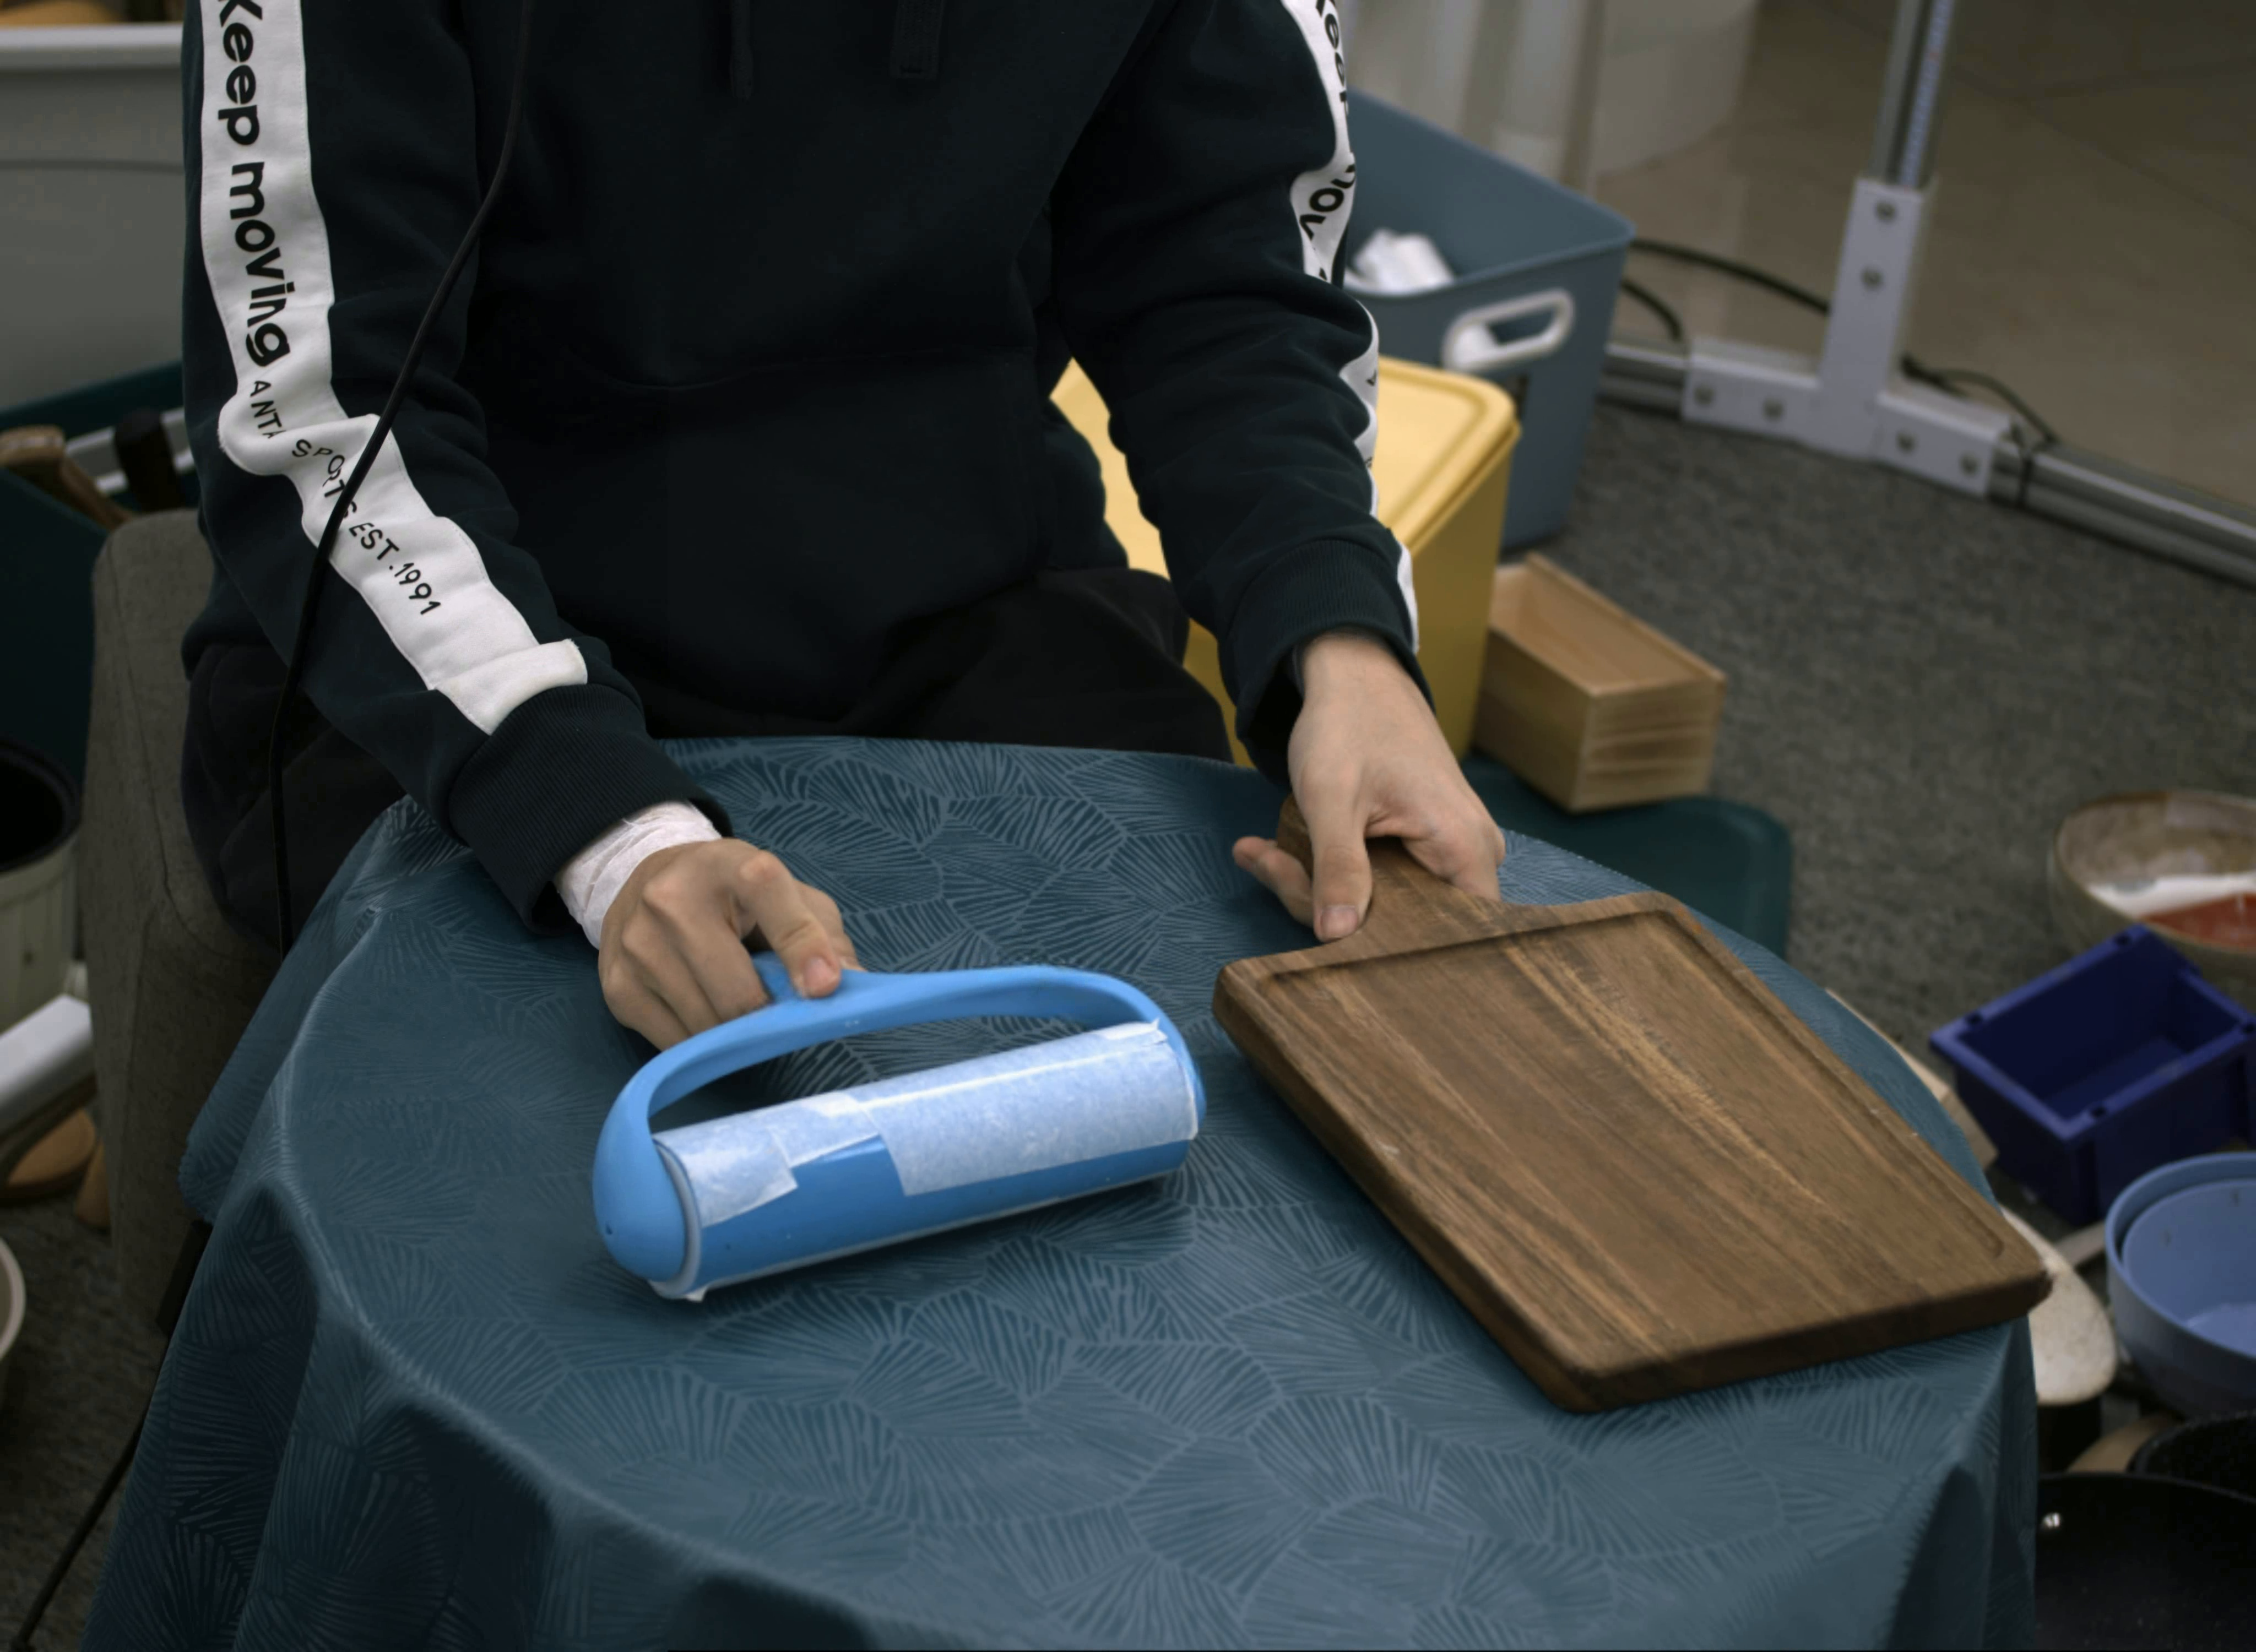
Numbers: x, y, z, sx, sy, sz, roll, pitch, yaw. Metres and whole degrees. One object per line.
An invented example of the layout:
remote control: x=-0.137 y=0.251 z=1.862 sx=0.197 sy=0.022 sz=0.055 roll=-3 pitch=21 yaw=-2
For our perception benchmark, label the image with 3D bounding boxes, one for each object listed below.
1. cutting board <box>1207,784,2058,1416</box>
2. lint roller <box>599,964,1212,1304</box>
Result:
cutting board: x=0.147 y=0.081 z=1.866 sx=0.200 sy=0.023 sz=0.355 roll=-9 pitch=34 yaw=-28
lint roller: x=-0.104 y=0.082 z=1.791 sx=0.227 sy=0.067 sz=0.182 roll=-15 pitch=36 yaw=-33
